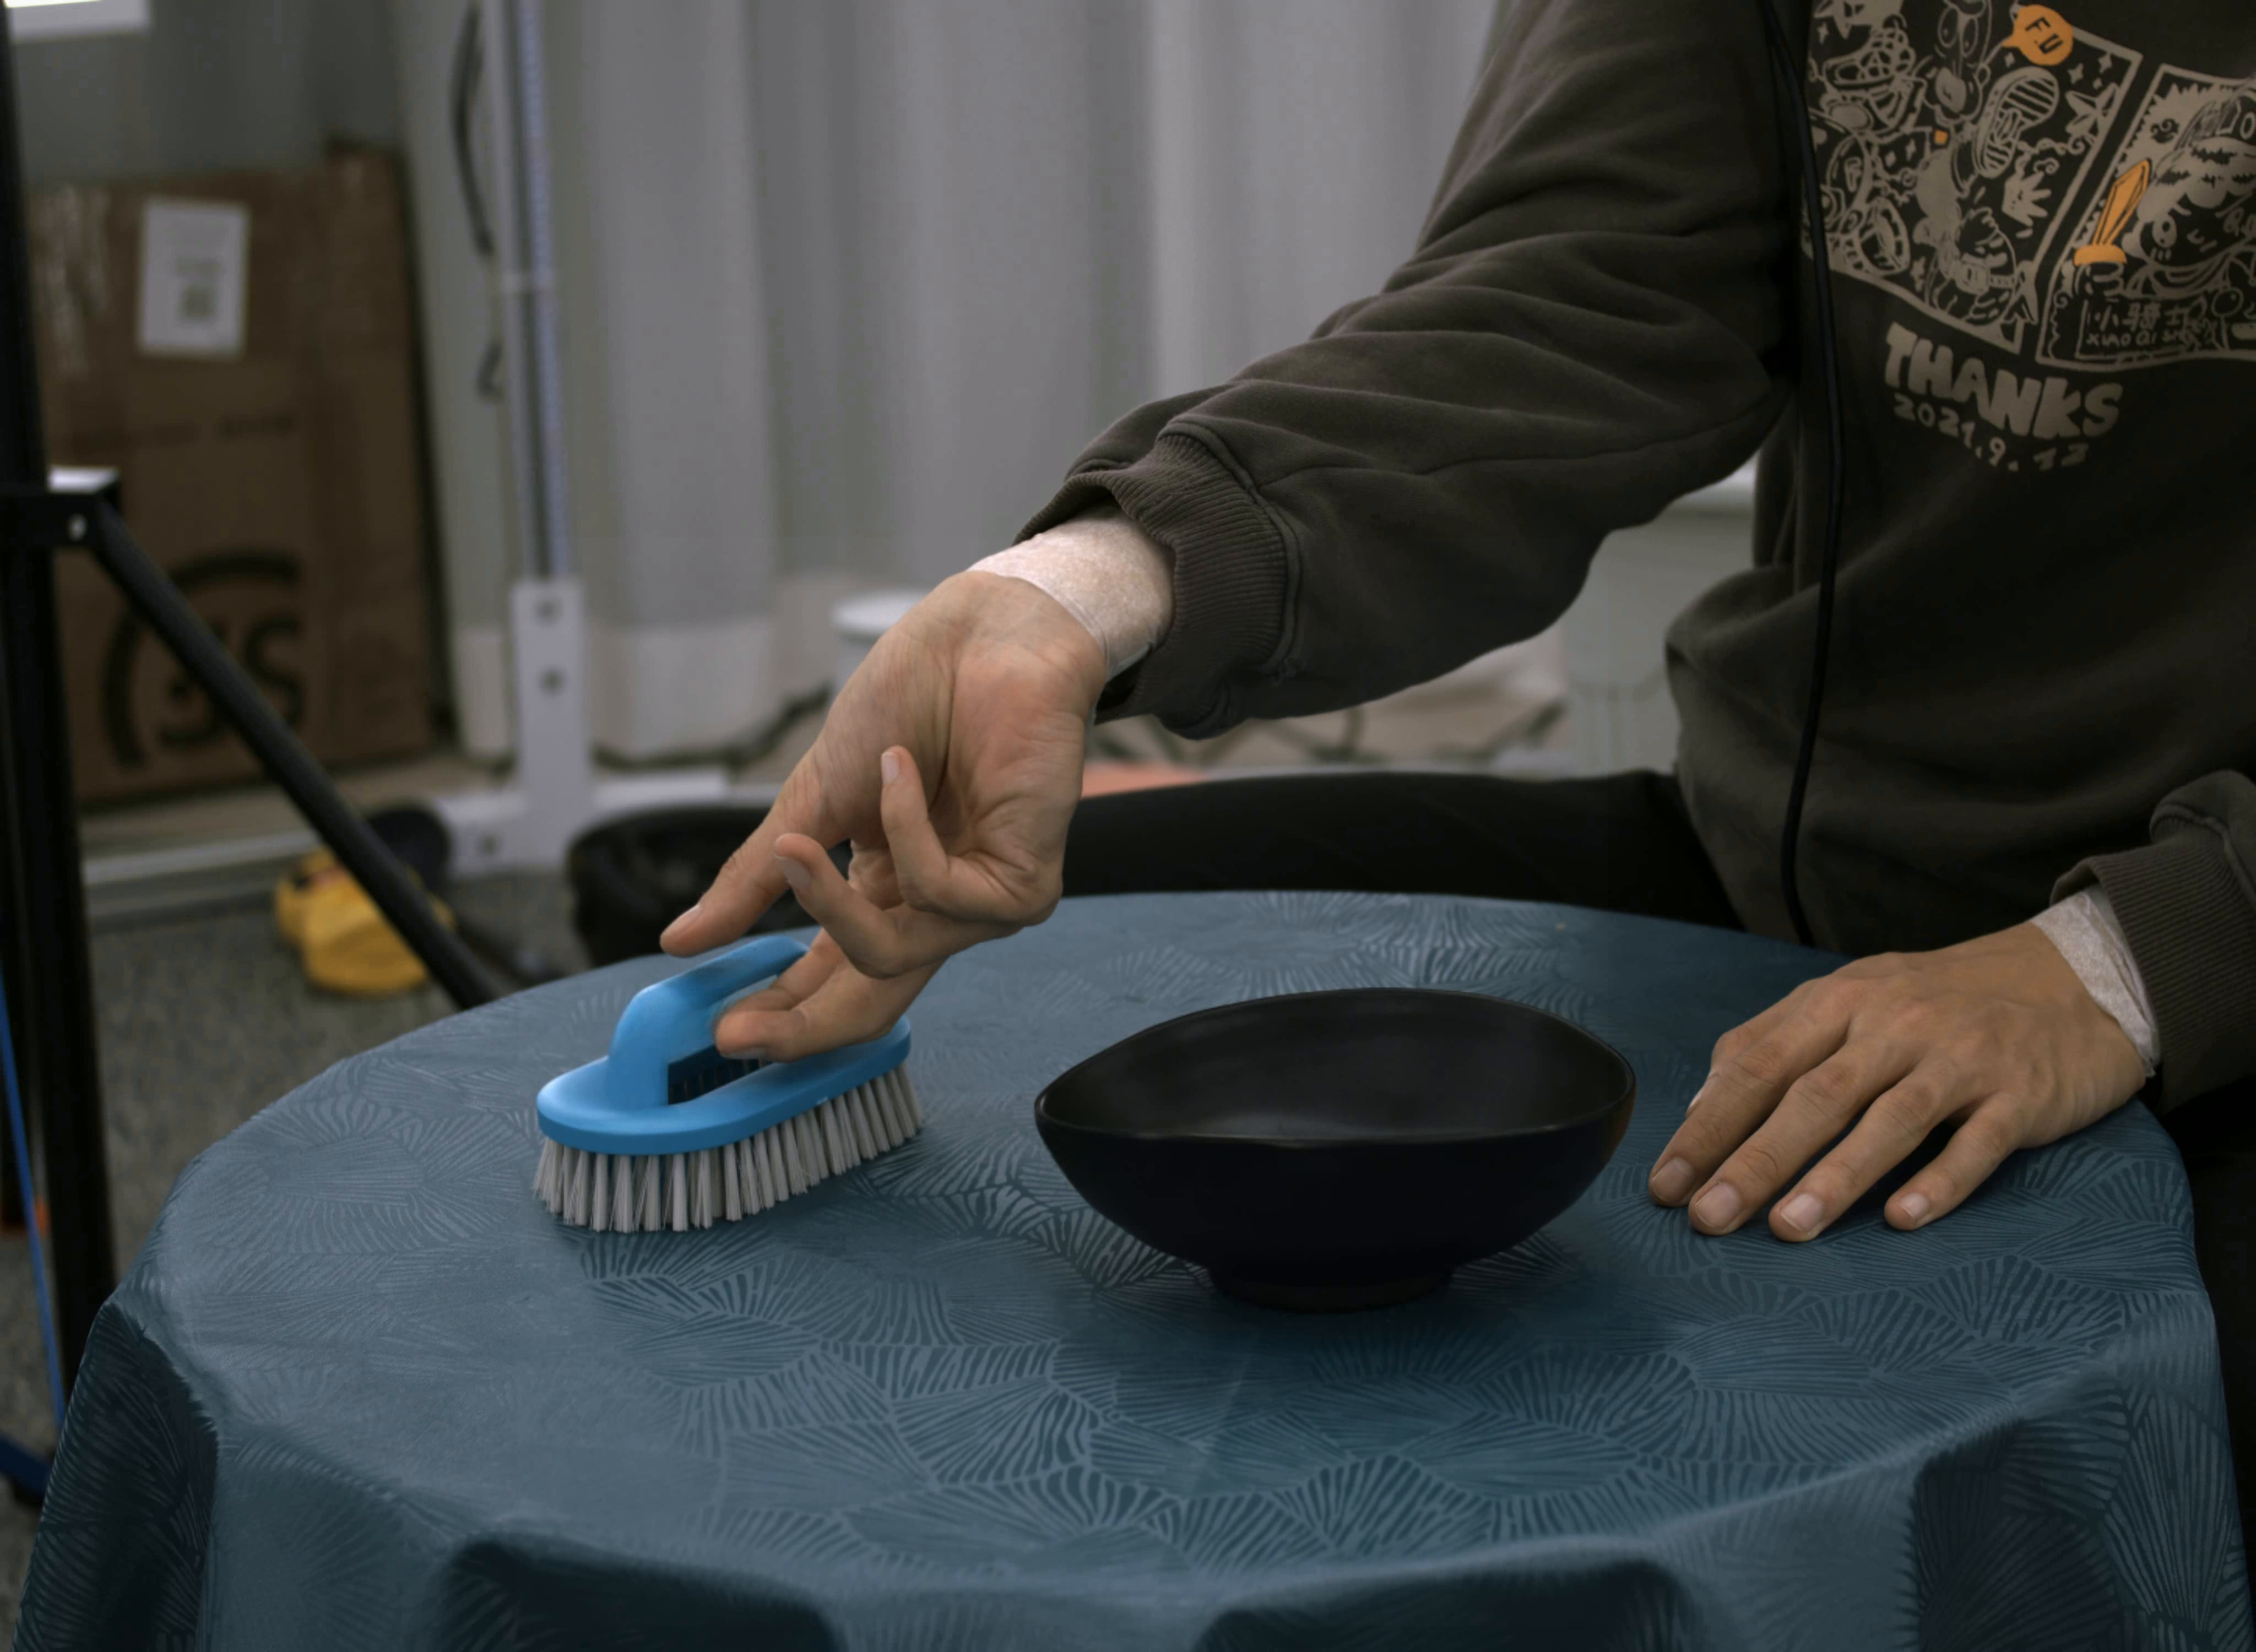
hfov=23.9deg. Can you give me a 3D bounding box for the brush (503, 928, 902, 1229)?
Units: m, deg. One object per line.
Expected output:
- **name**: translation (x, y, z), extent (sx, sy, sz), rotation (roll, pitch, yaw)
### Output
- **brush**: translation (-0.124, 0.069, 1.600), extent (0.086, 0.064, 0.139), rotation (14, 23, 35)

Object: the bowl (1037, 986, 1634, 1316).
- **bowl**: translation (0.057, 0.096, 1.480), extent (0.171, 0.067, 0.136), rotation (0, 15, 14)
